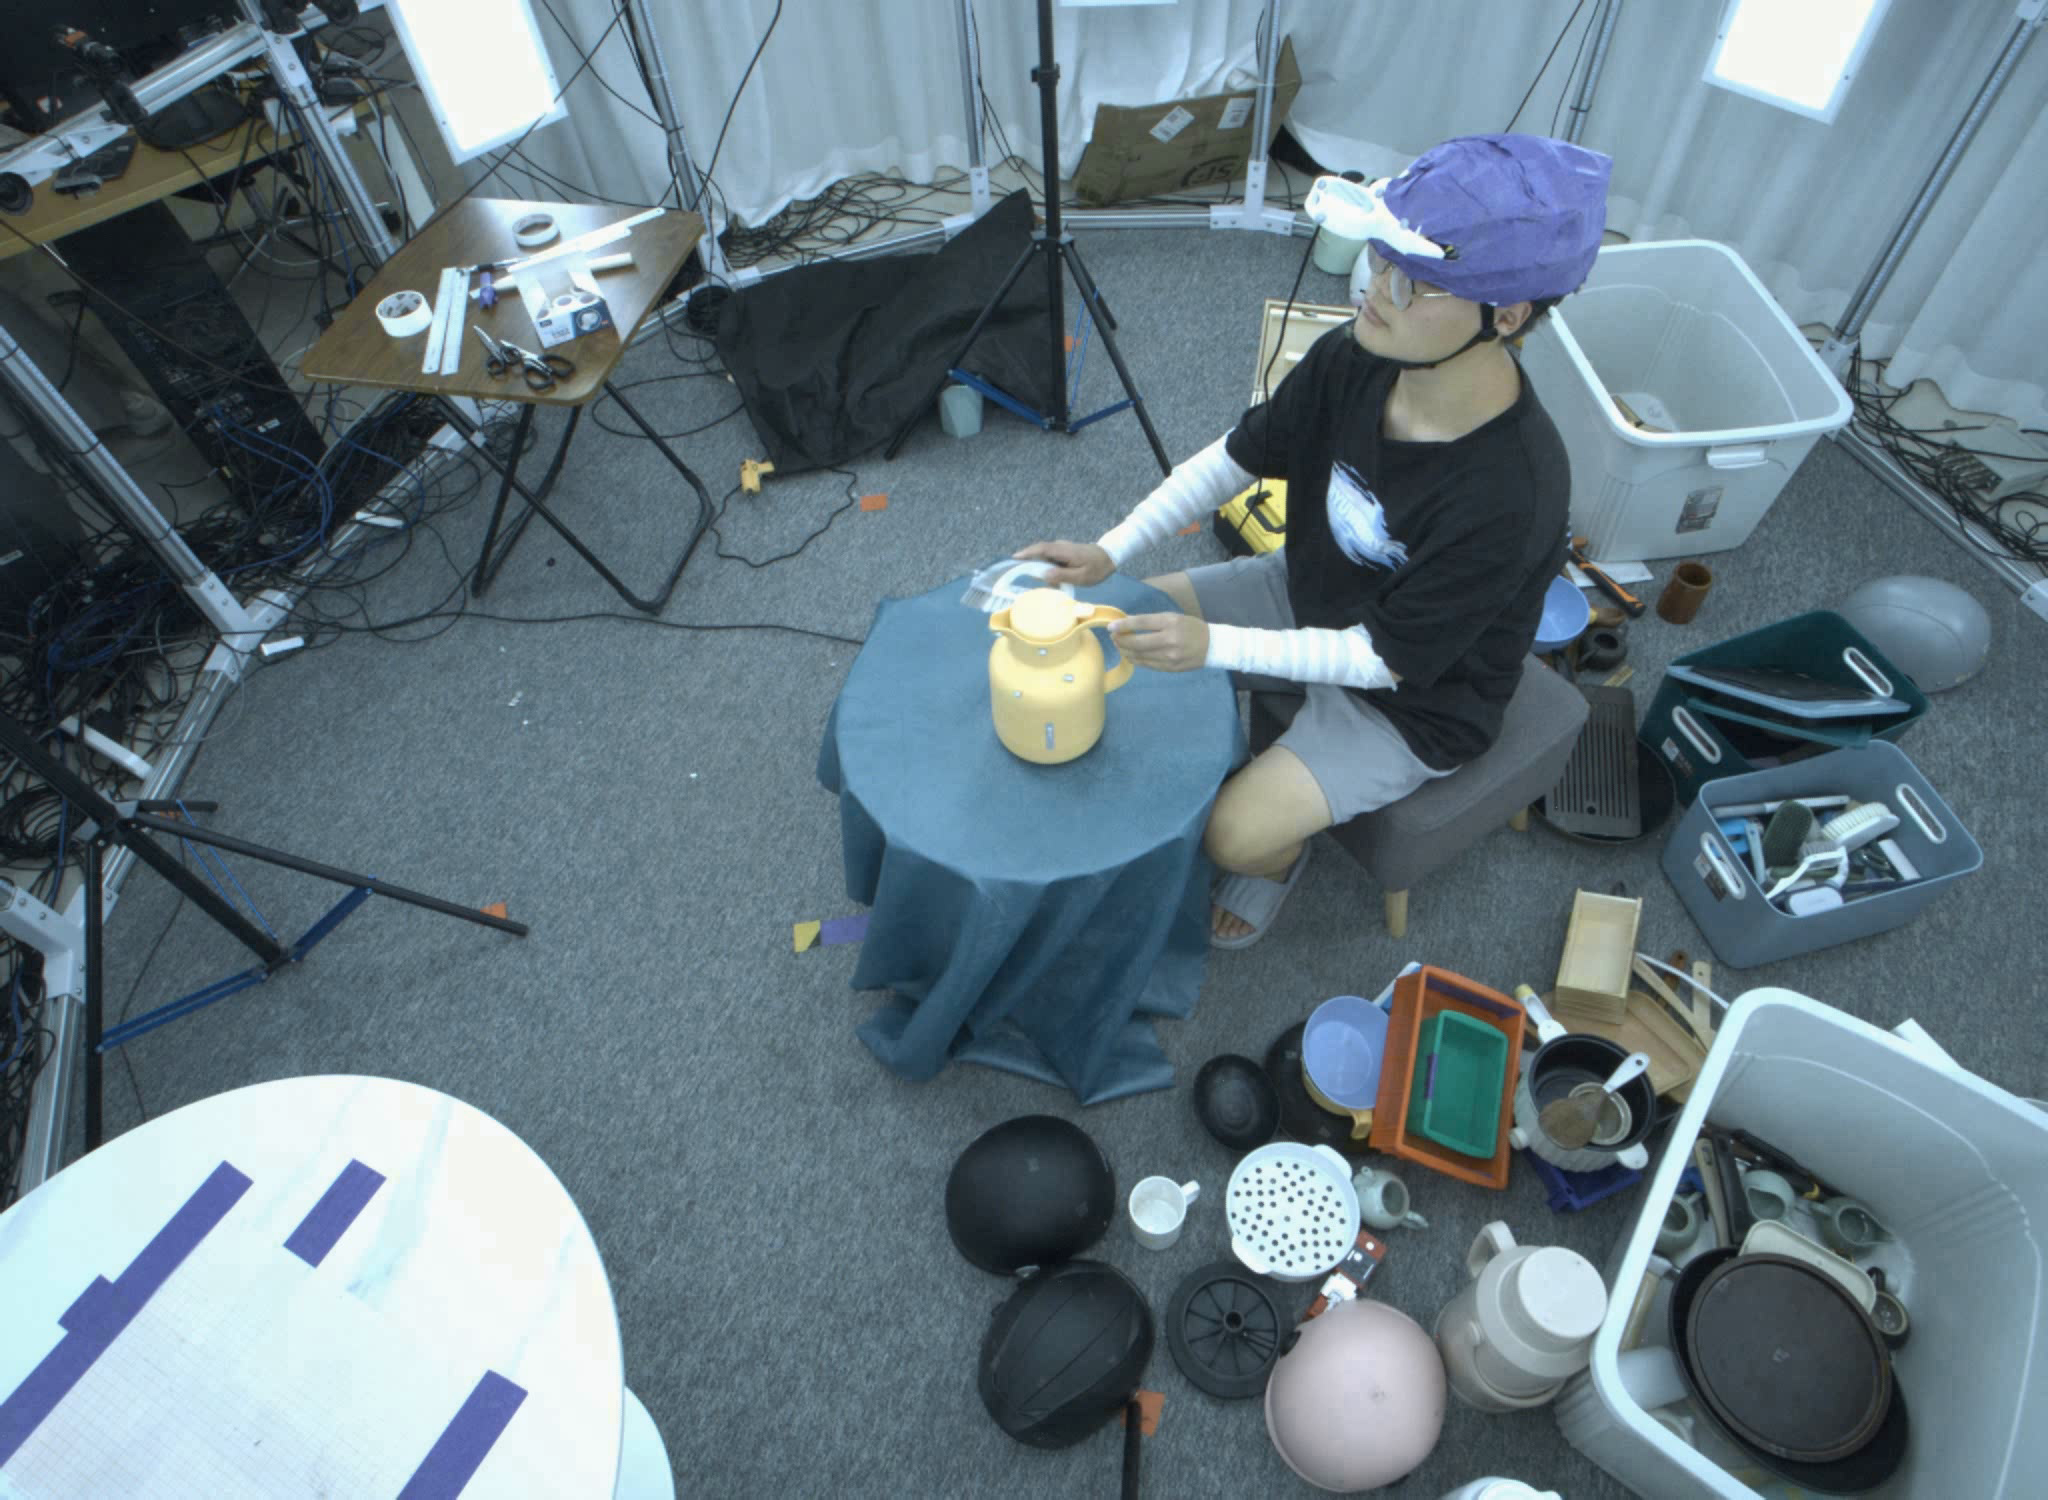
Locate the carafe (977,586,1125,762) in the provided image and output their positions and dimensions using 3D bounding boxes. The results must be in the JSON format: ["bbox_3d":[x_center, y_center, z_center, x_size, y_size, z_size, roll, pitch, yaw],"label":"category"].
[{"bbox_3d":[0.039,-0.110,1.695,0.202,0.263,0.161,-4,56,2],"label":"carafe"}]

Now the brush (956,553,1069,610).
[{"bbox_3d":[-0.013,-0.242,1.791,0.179,0.094,0.060,5,17,-31],"label":"brush"}]
